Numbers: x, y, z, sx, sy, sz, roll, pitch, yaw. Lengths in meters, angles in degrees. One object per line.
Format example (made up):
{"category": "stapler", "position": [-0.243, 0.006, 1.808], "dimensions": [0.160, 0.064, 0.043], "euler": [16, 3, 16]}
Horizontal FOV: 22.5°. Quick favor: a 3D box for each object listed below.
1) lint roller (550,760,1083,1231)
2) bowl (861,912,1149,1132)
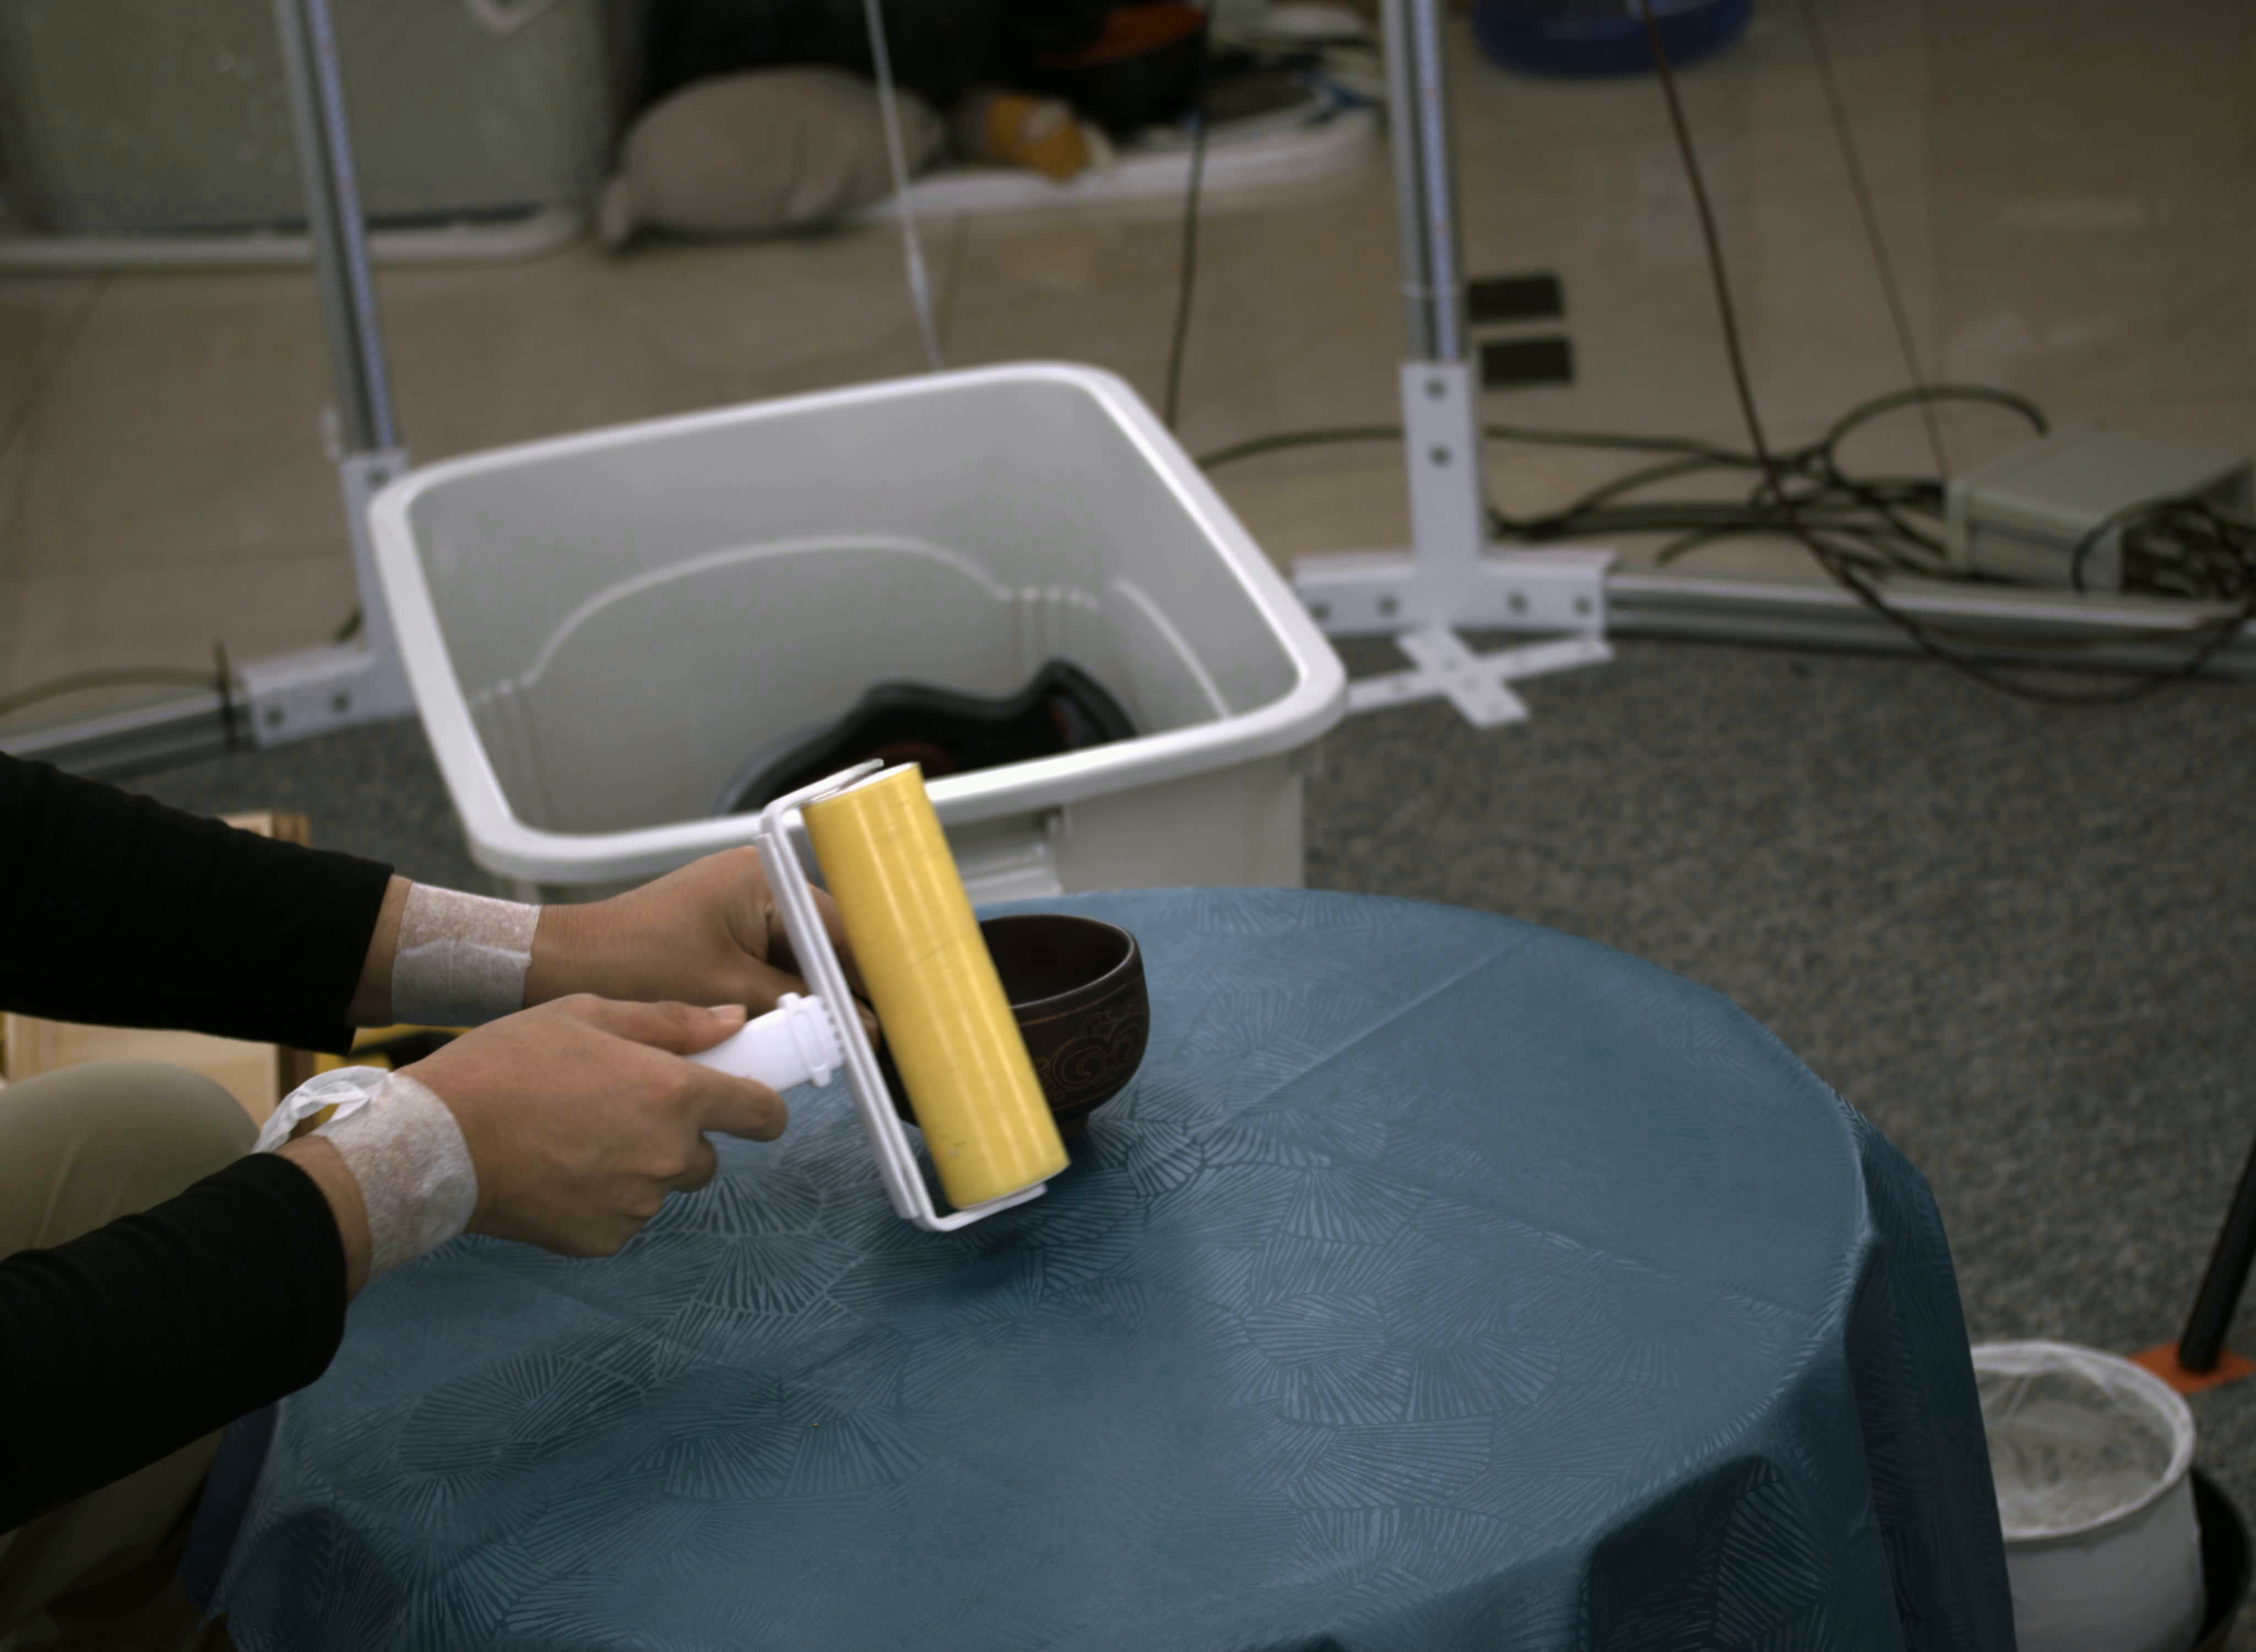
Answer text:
{"category": "lint roller", "position": [-0.122, 0.085, 2.061], "dimensions": [0.190, 0.175, 0.051], "euler": [-26, 7, -35]}
{"category": "bowl", "position": [-0.049, 0.083, 2.184], "dimensions": [0.118, 0.071, 0.116], "euler": [-7, 17, 2]}
